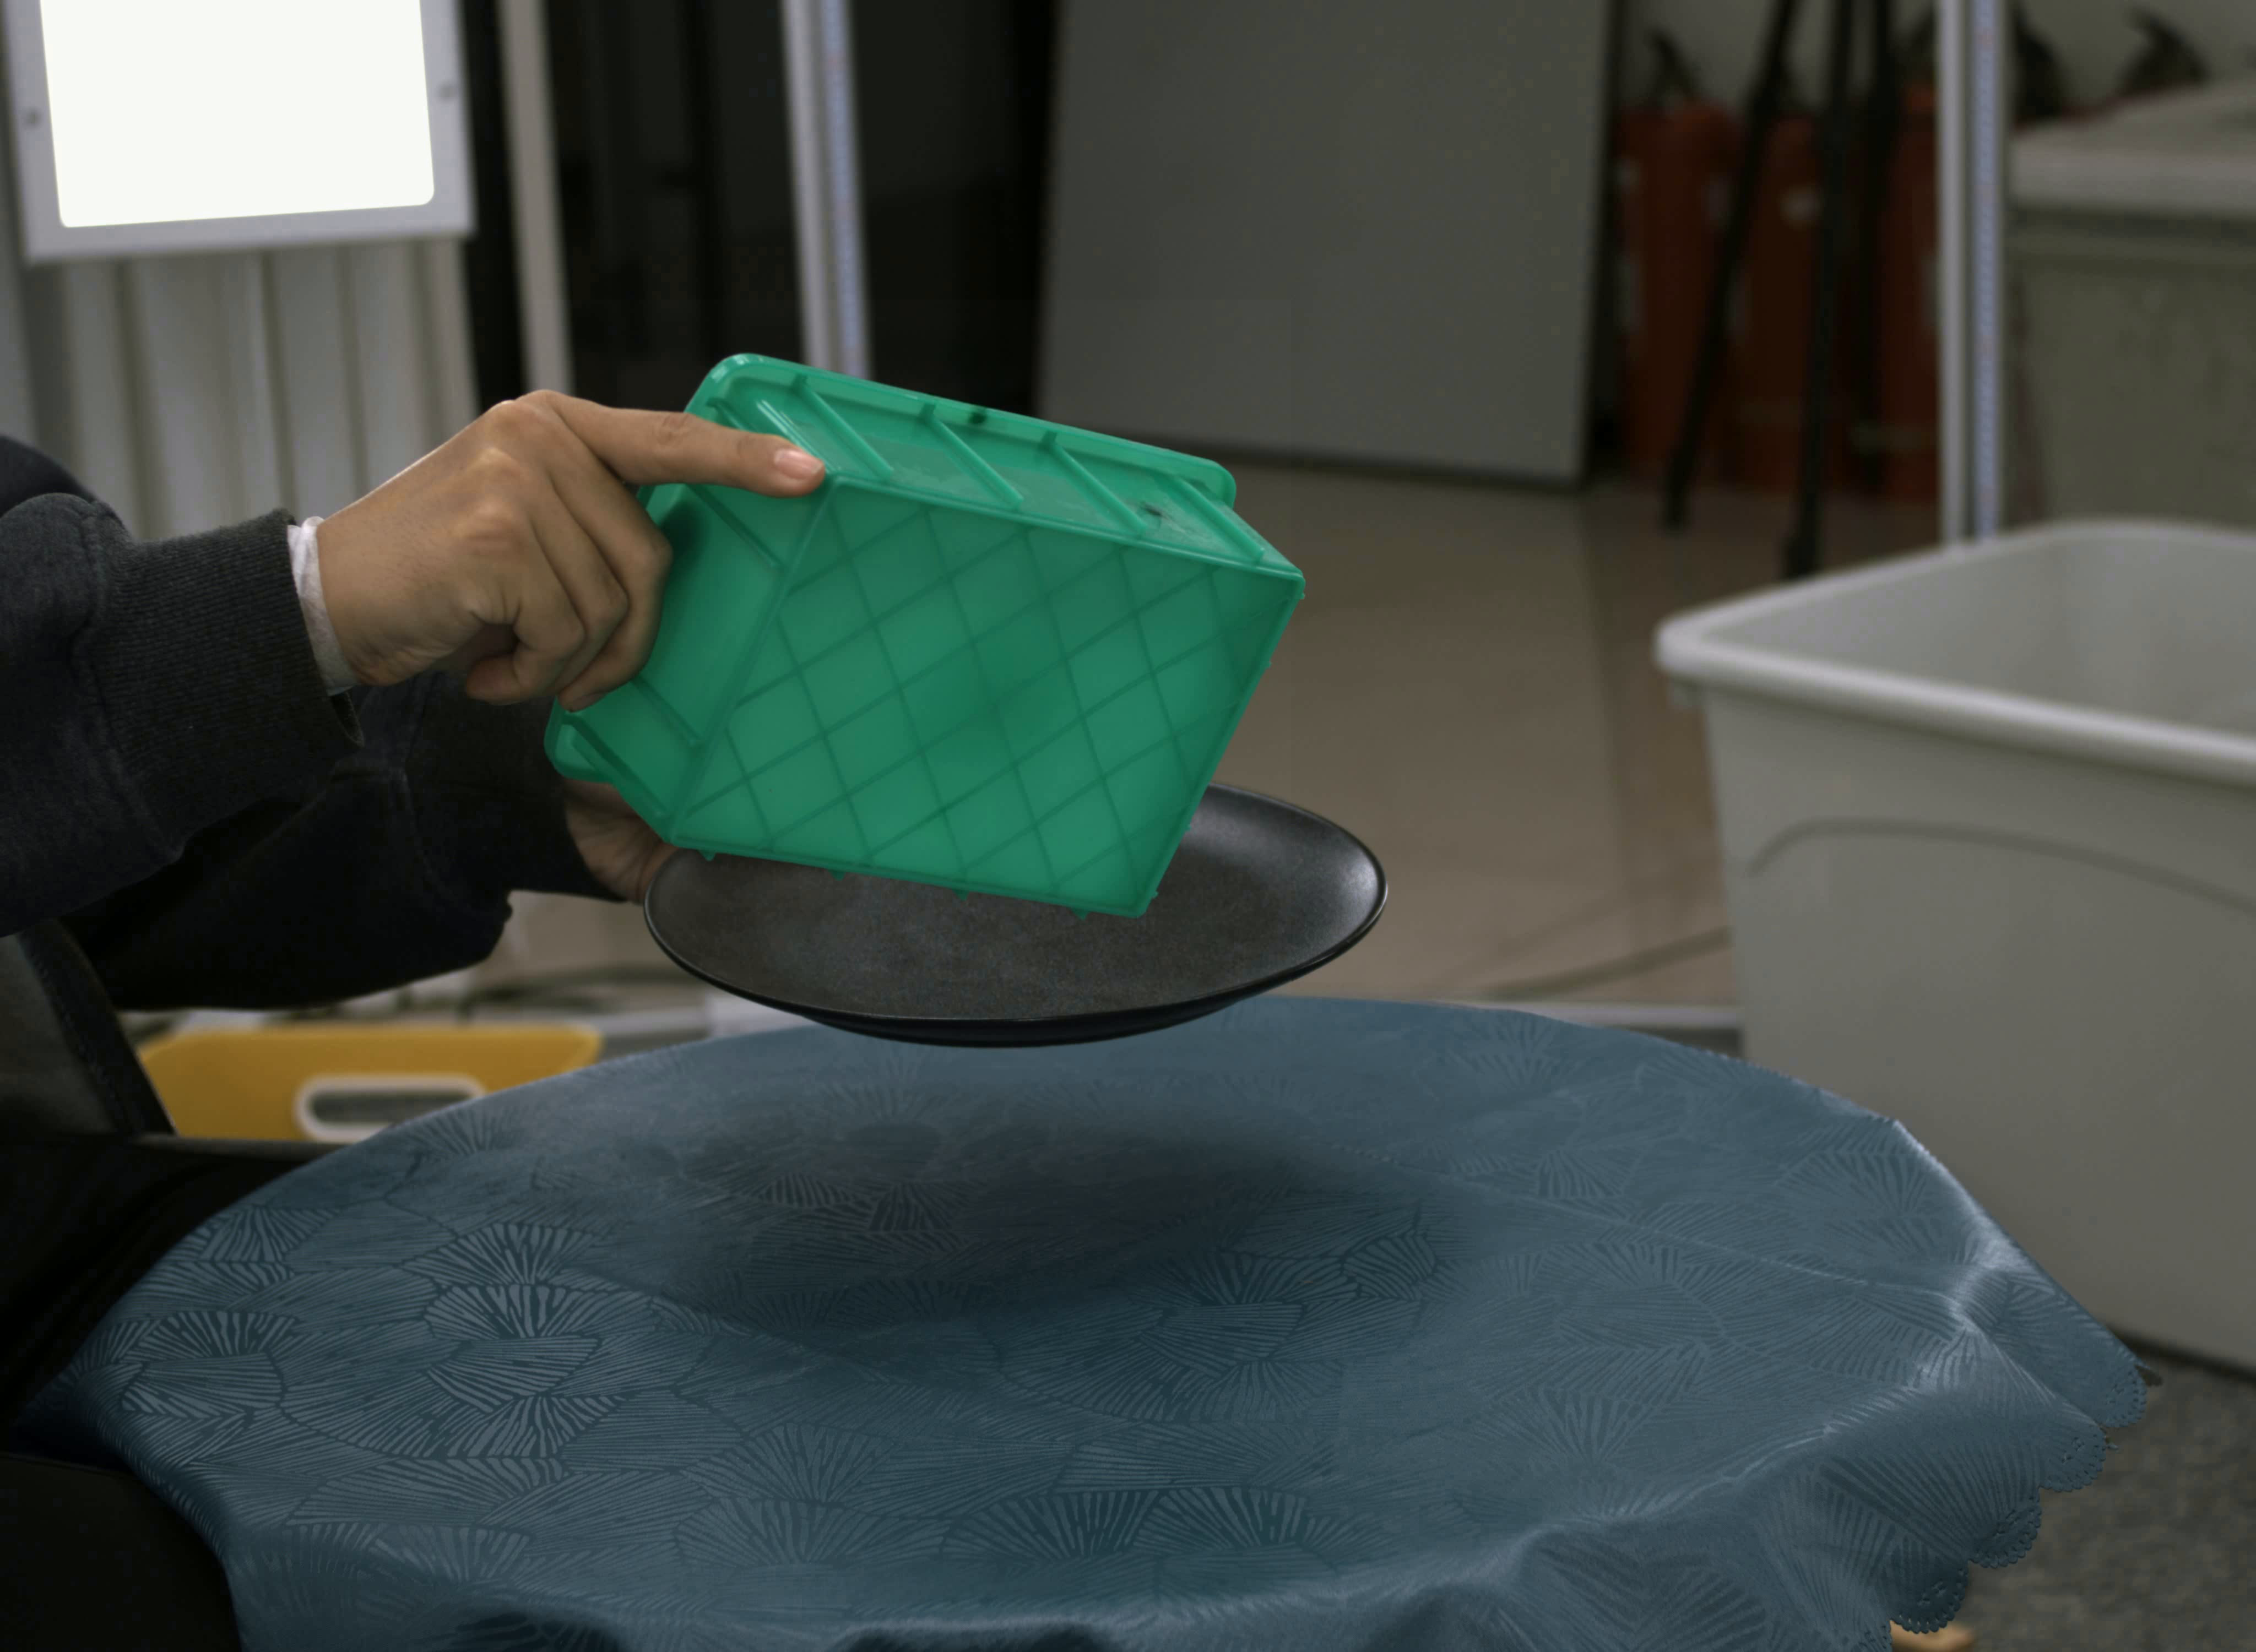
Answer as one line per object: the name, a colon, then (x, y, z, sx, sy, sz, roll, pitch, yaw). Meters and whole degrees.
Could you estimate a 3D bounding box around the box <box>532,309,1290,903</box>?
box: (-0.056, -0.055, 1.545, 0.206, 0.140, 0.066, 11, 20, -42)

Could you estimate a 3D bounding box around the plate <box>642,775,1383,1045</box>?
plate: (-0.037, 0.028, 1.754, 0.241, 0.023, 0.245, -2, 19, 0)
